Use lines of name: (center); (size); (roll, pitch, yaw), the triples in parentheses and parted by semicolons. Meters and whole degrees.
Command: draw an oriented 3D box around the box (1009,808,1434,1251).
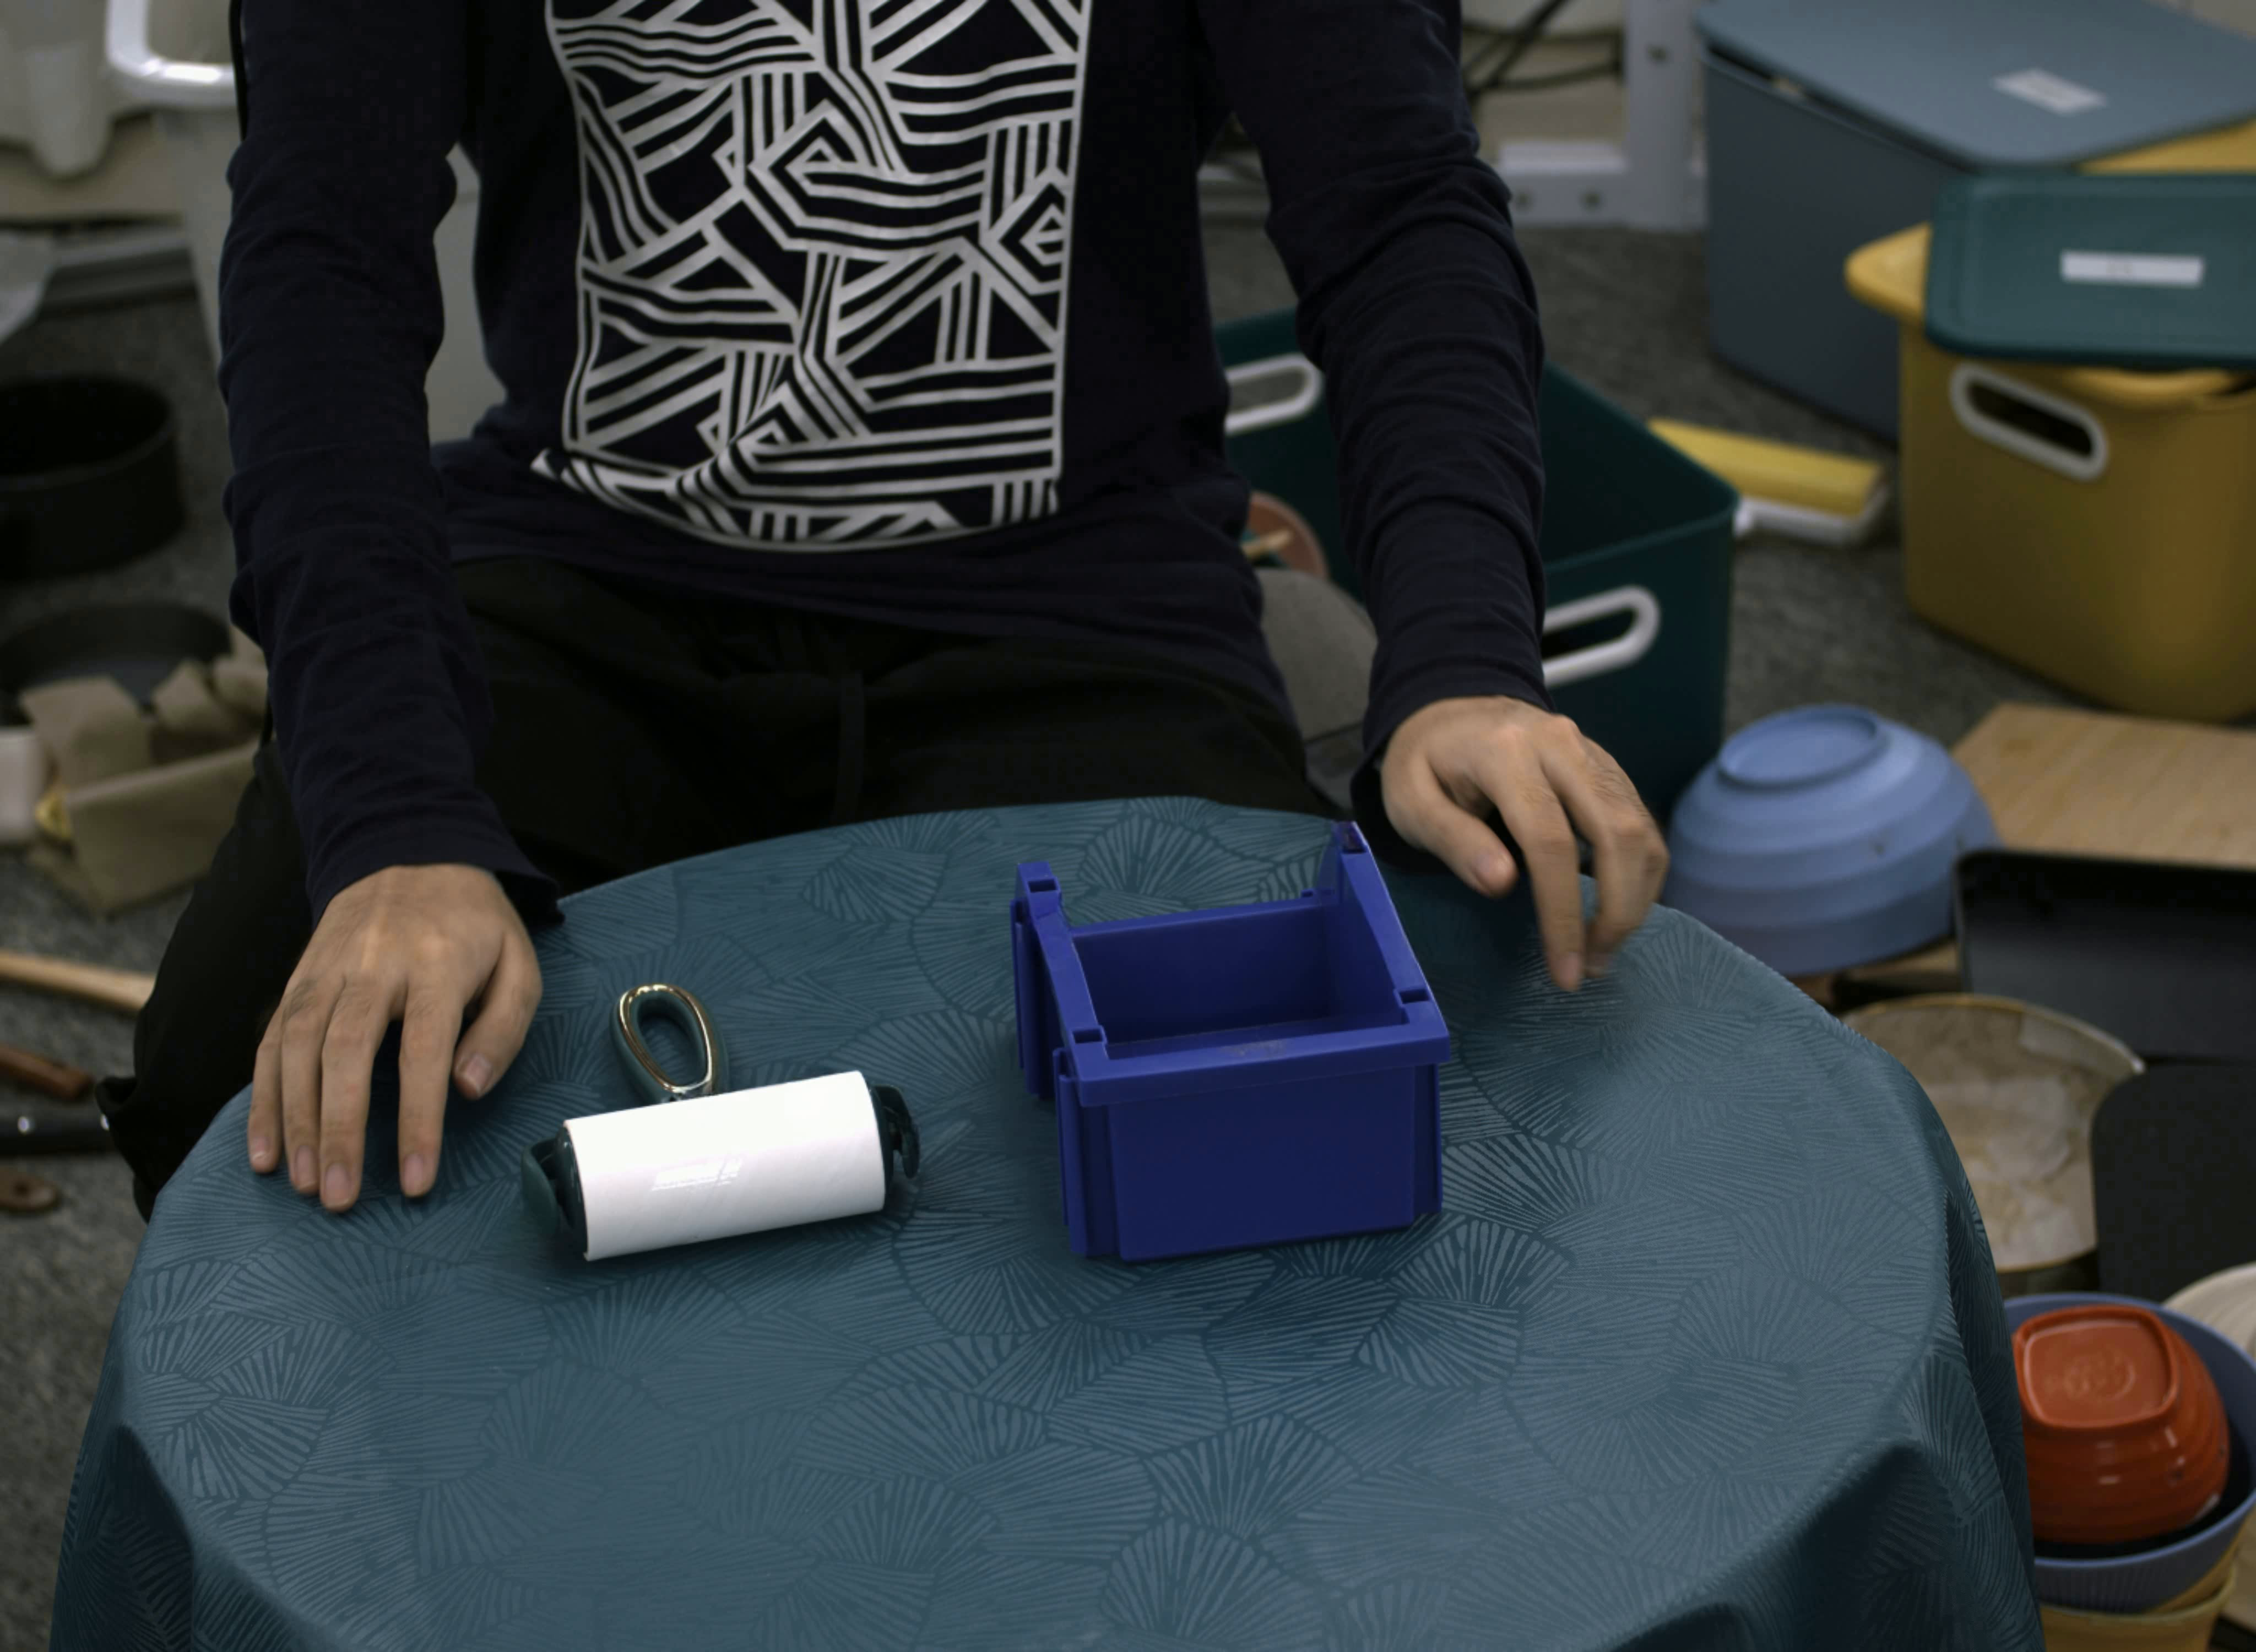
box: (0.027, 0.063, 1.884); (0.124, 0.081, 0.182); (-6, 30, -5)

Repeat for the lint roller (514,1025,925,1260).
lint roller: (-0.150, 0.087, 1.902); (0.134, 0.048, 0.181); (-9, 23, -12)
